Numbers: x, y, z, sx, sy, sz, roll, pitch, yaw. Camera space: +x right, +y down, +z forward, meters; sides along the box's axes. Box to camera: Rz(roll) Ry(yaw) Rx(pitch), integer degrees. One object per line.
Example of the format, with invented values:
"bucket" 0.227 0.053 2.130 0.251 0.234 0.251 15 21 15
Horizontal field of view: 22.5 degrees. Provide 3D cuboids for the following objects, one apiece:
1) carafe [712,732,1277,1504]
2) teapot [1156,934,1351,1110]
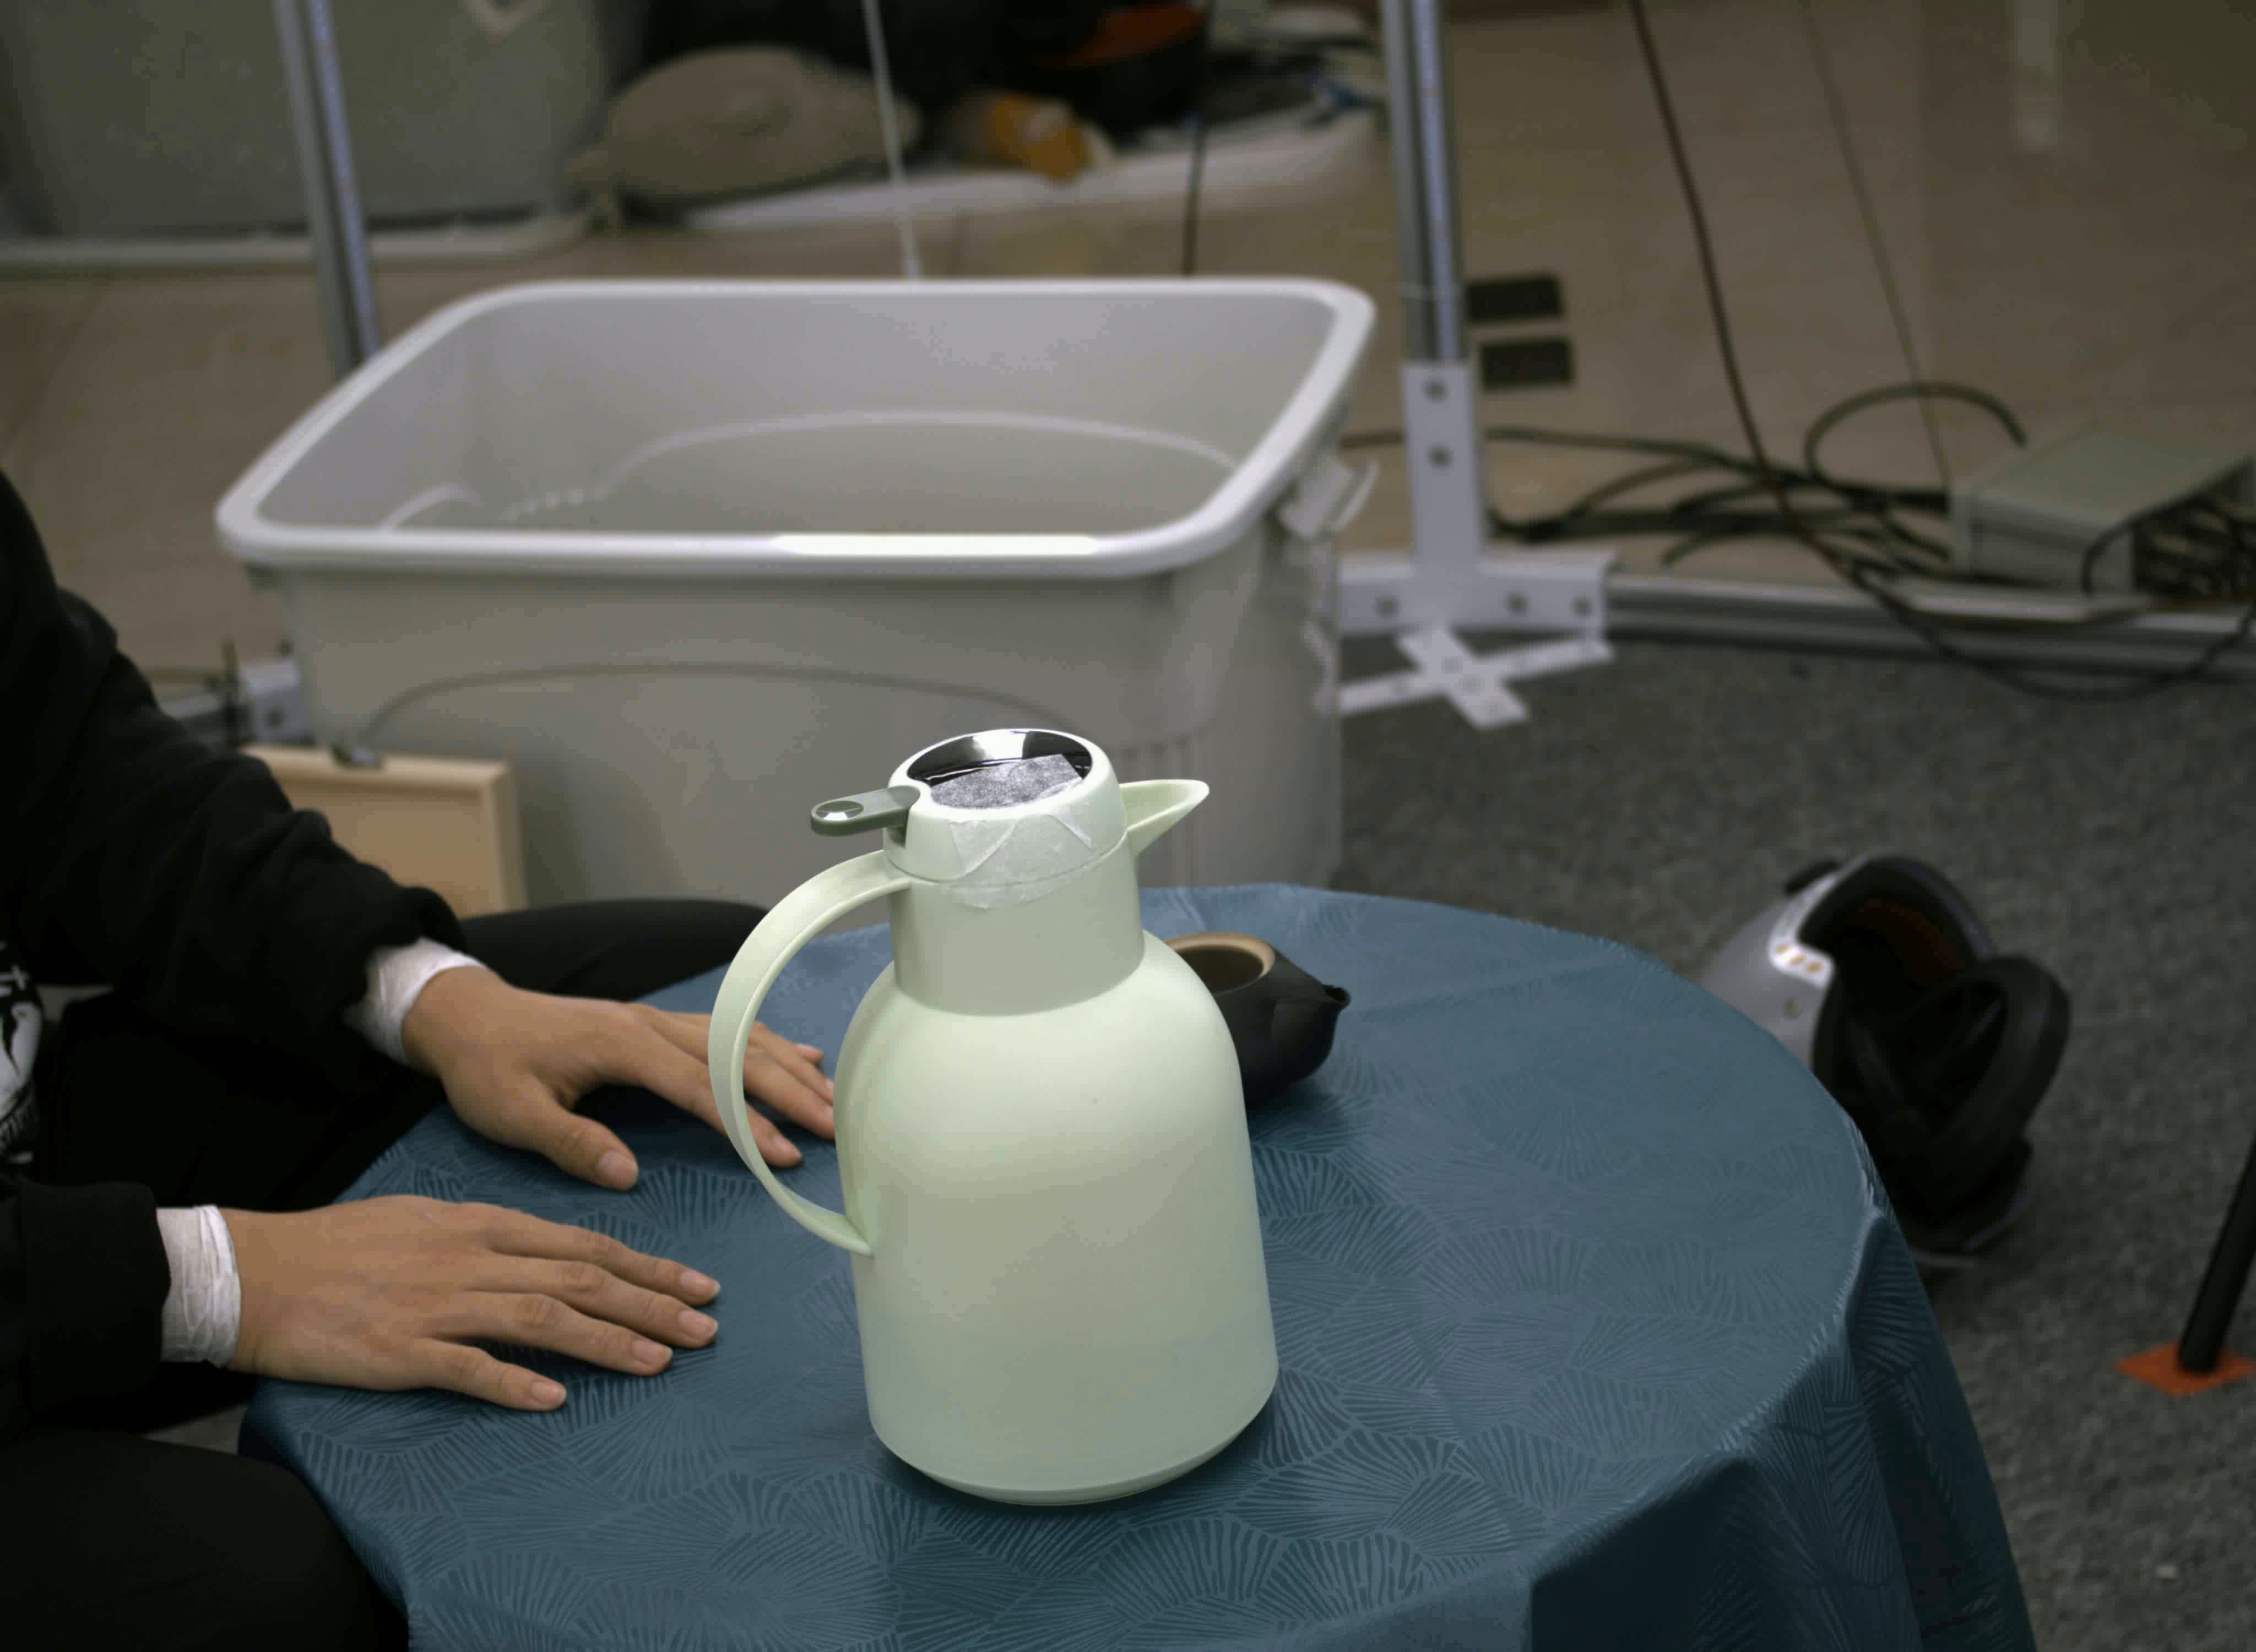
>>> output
"carafe" -0.044 0.099 1.946 0.186 0.261 0.142 -19 29 -17
"teapot" 0.031 0.077 2.211 0.132 0.054 0.090 10 28 31
